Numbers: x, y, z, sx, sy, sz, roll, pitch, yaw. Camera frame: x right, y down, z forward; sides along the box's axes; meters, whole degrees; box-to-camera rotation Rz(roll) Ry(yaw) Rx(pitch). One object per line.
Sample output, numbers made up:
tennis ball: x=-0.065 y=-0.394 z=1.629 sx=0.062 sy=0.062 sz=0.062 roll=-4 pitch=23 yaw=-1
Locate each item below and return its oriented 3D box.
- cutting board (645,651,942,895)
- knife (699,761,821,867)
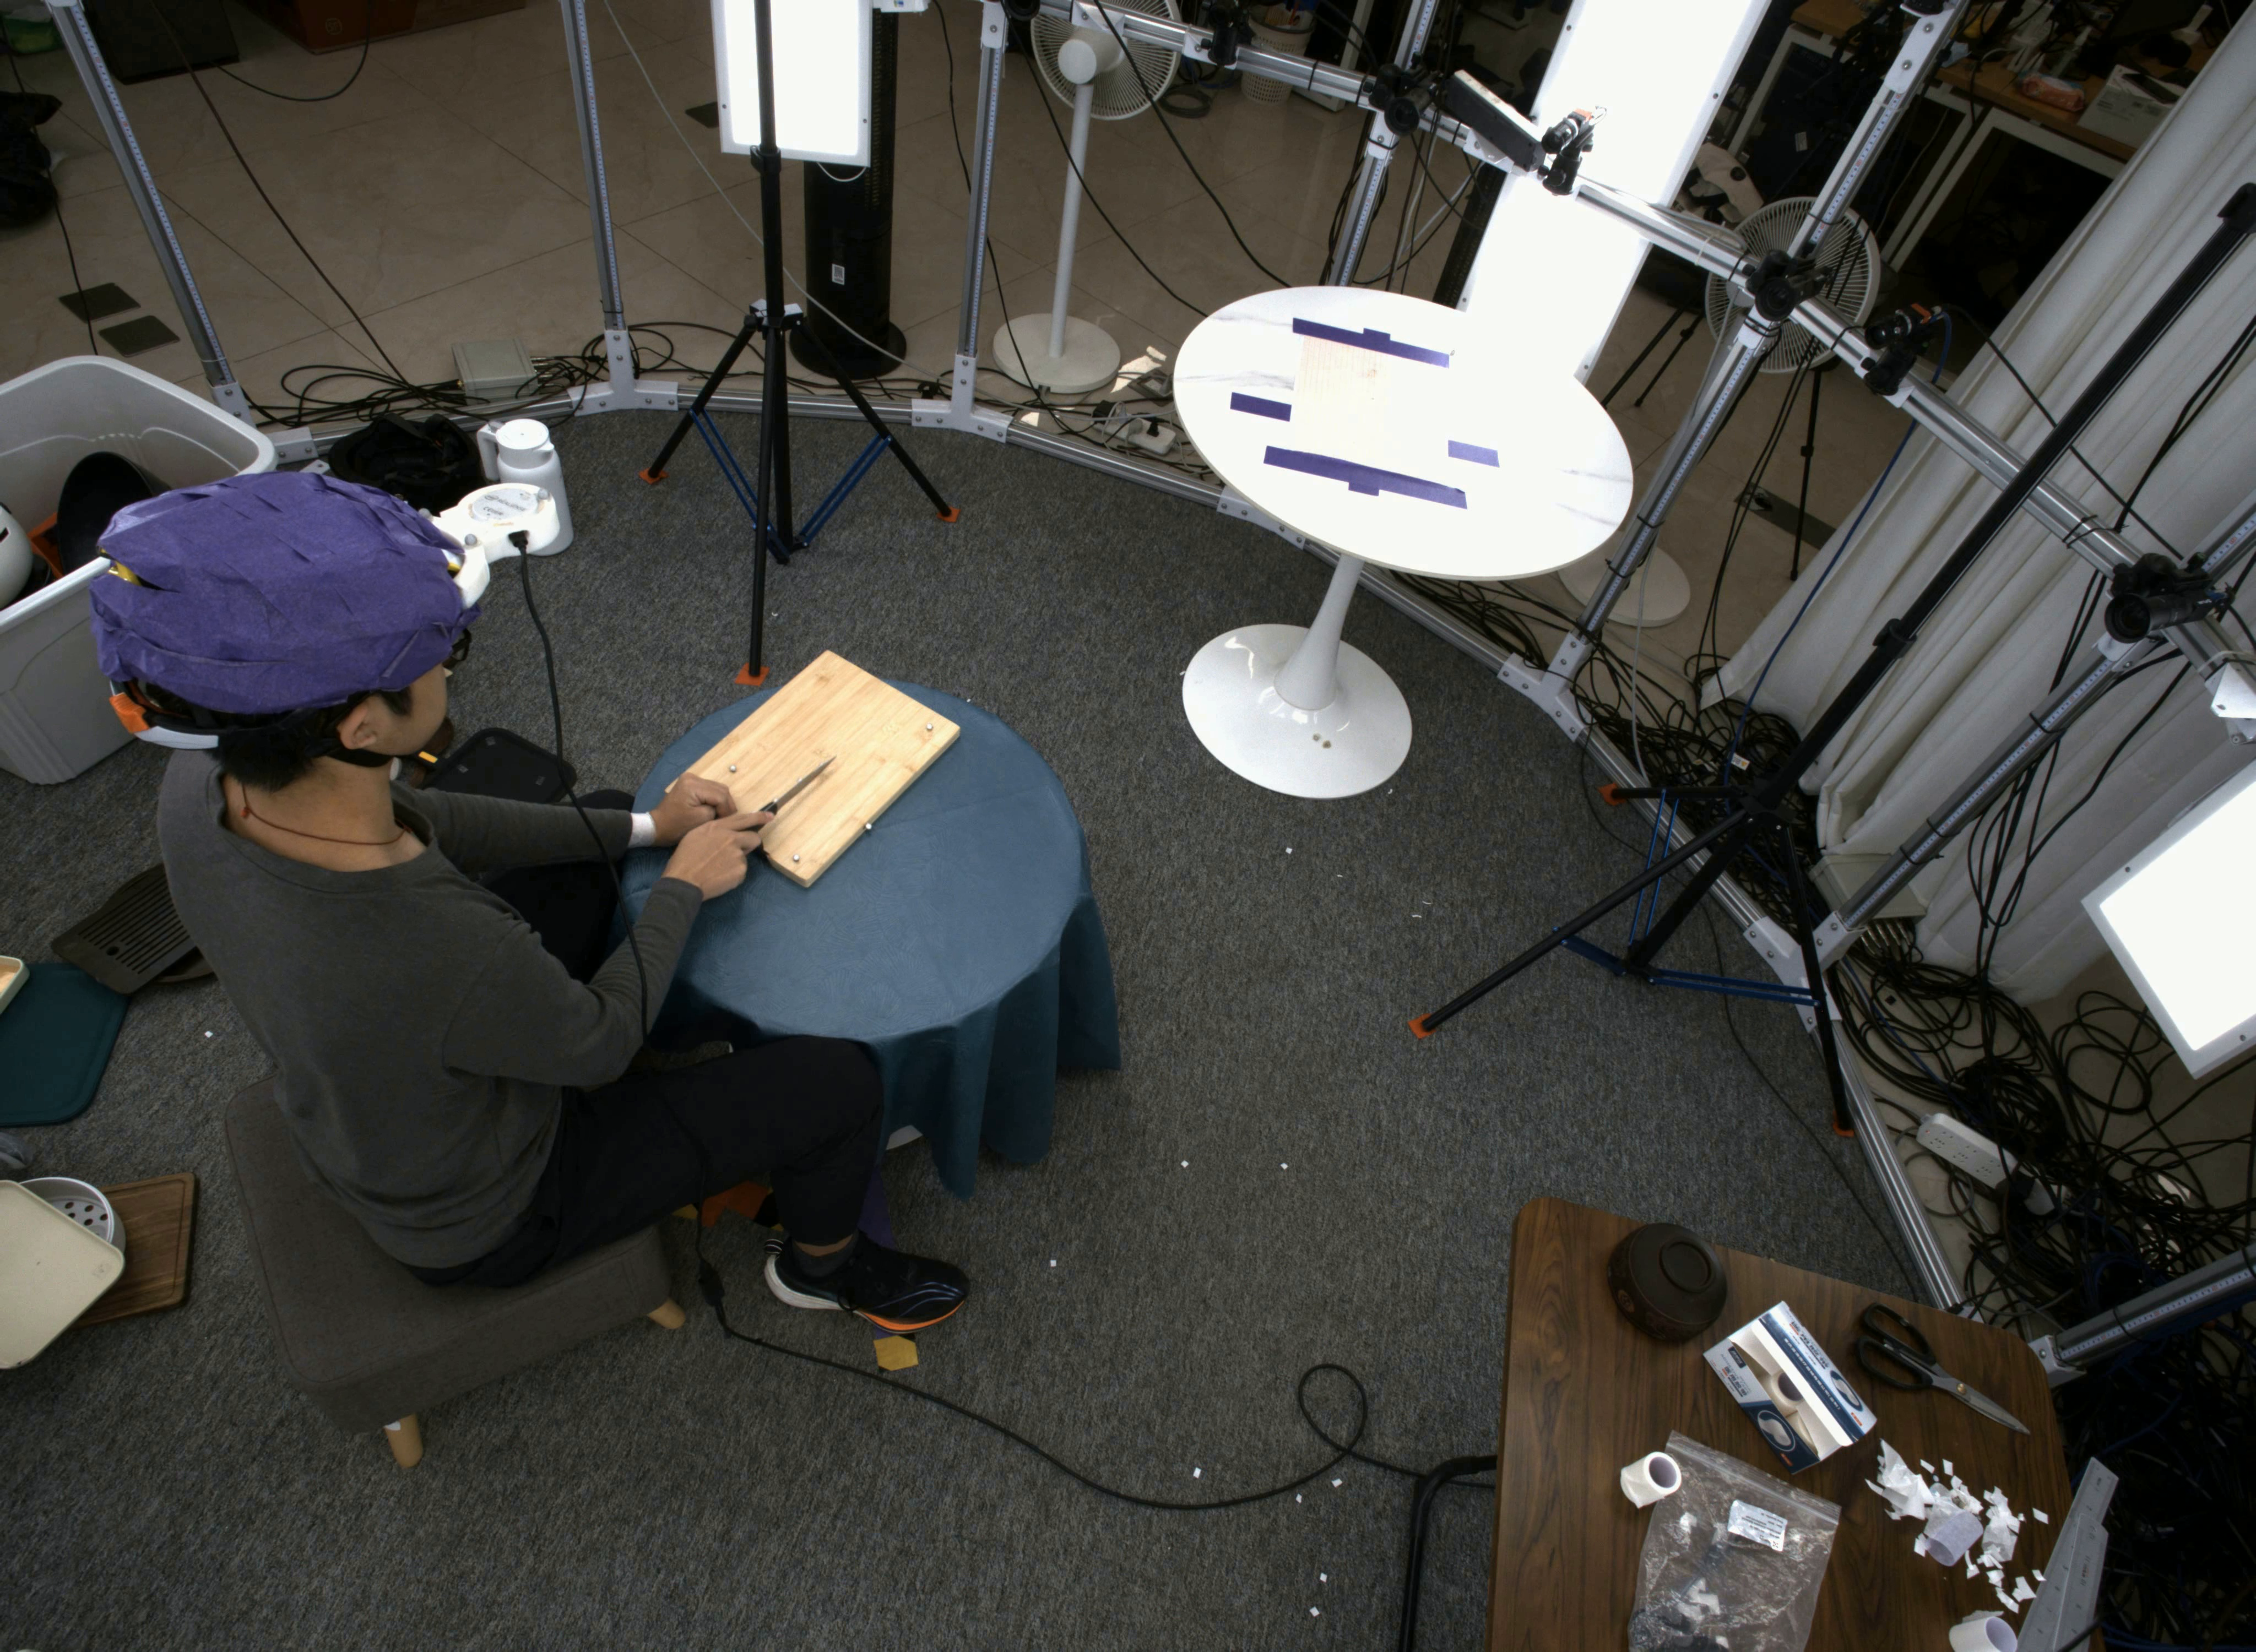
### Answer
cutting board: x=-0.451 y=-0.083 z=1.780 sx=0.246 sy=0.024 sz=0.347 roll=29 pitch=53 yaw=9
knife: x=-0.475 y=-0.024 z=1.688 sx=0.016 sy=0.025 sz=0.237 roll=33 pitch=47 yaw=8
